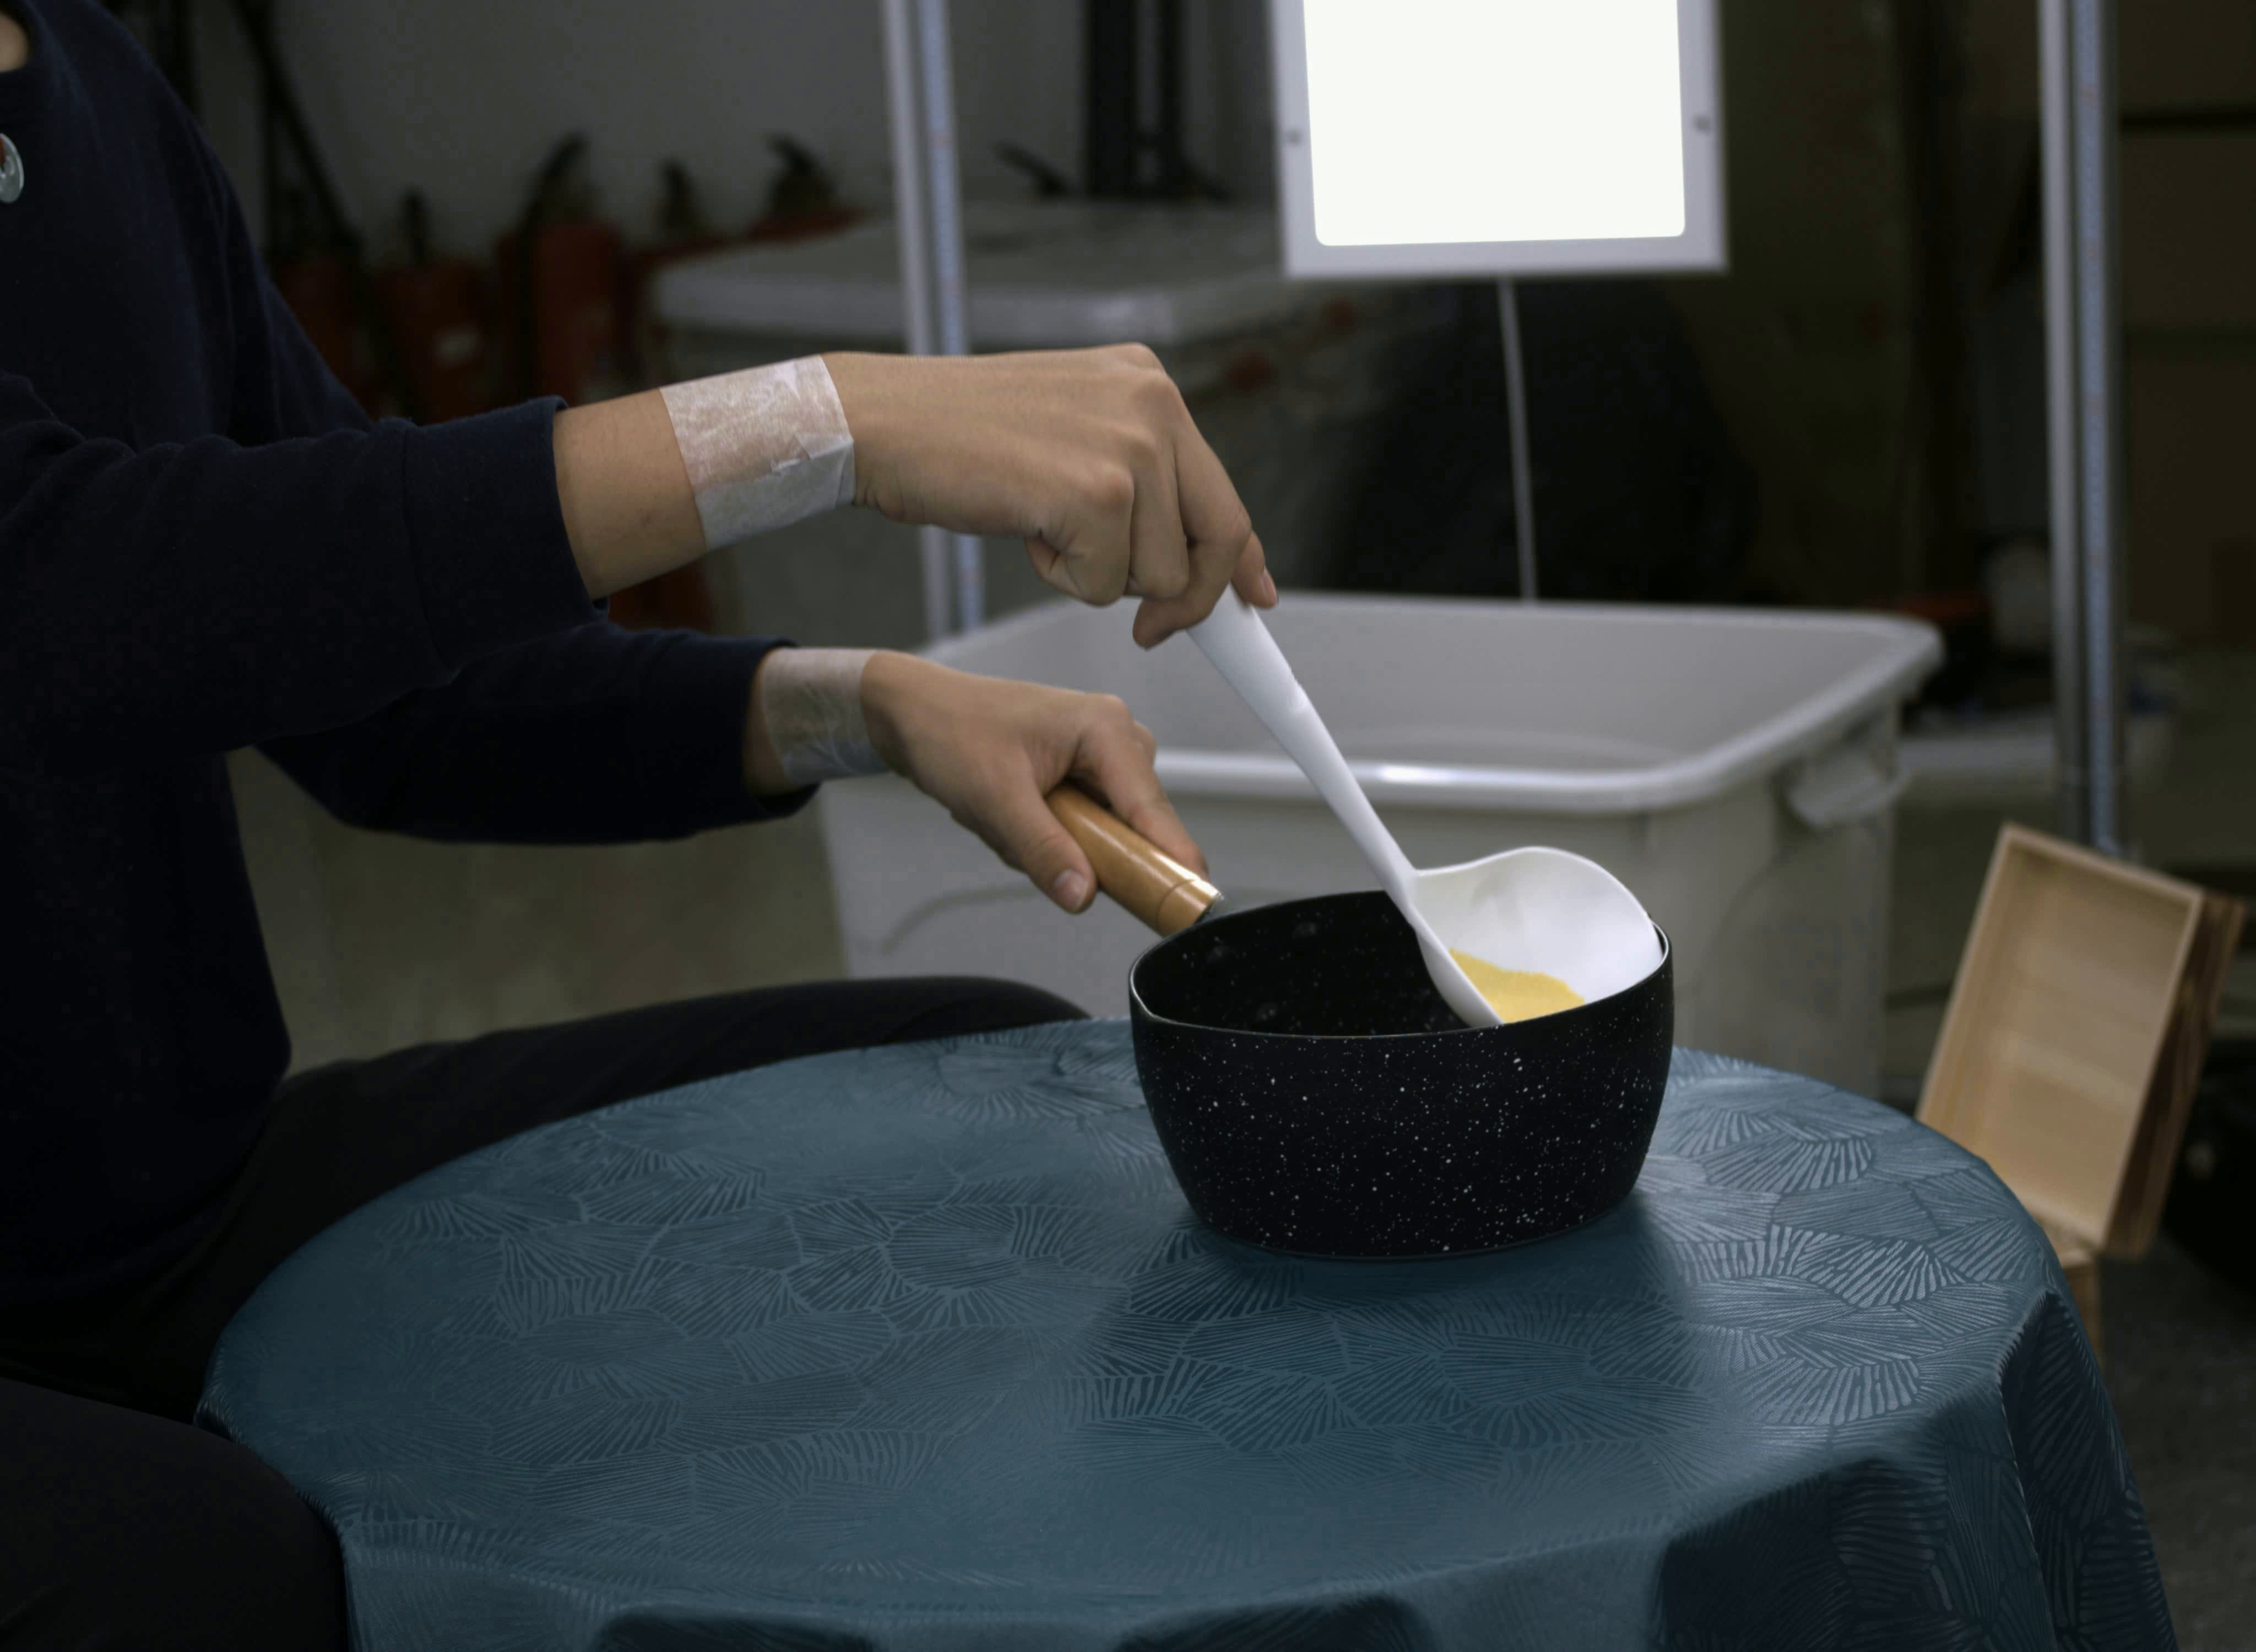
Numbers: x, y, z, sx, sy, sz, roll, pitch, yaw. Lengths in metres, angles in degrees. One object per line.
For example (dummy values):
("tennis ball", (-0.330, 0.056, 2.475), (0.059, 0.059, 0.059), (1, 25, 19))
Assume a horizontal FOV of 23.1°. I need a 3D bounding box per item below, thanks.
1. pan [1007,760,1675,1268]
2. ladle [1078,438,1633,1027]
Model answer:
("pan", (0.051, 0.060, 1.923), (0.203, 0.108, 0.349), (-14, 18, -29))
("ladle", (0.081, -0.016, 1.768), (0.071, 0.290, 0.089), (-10, 43, 30))
